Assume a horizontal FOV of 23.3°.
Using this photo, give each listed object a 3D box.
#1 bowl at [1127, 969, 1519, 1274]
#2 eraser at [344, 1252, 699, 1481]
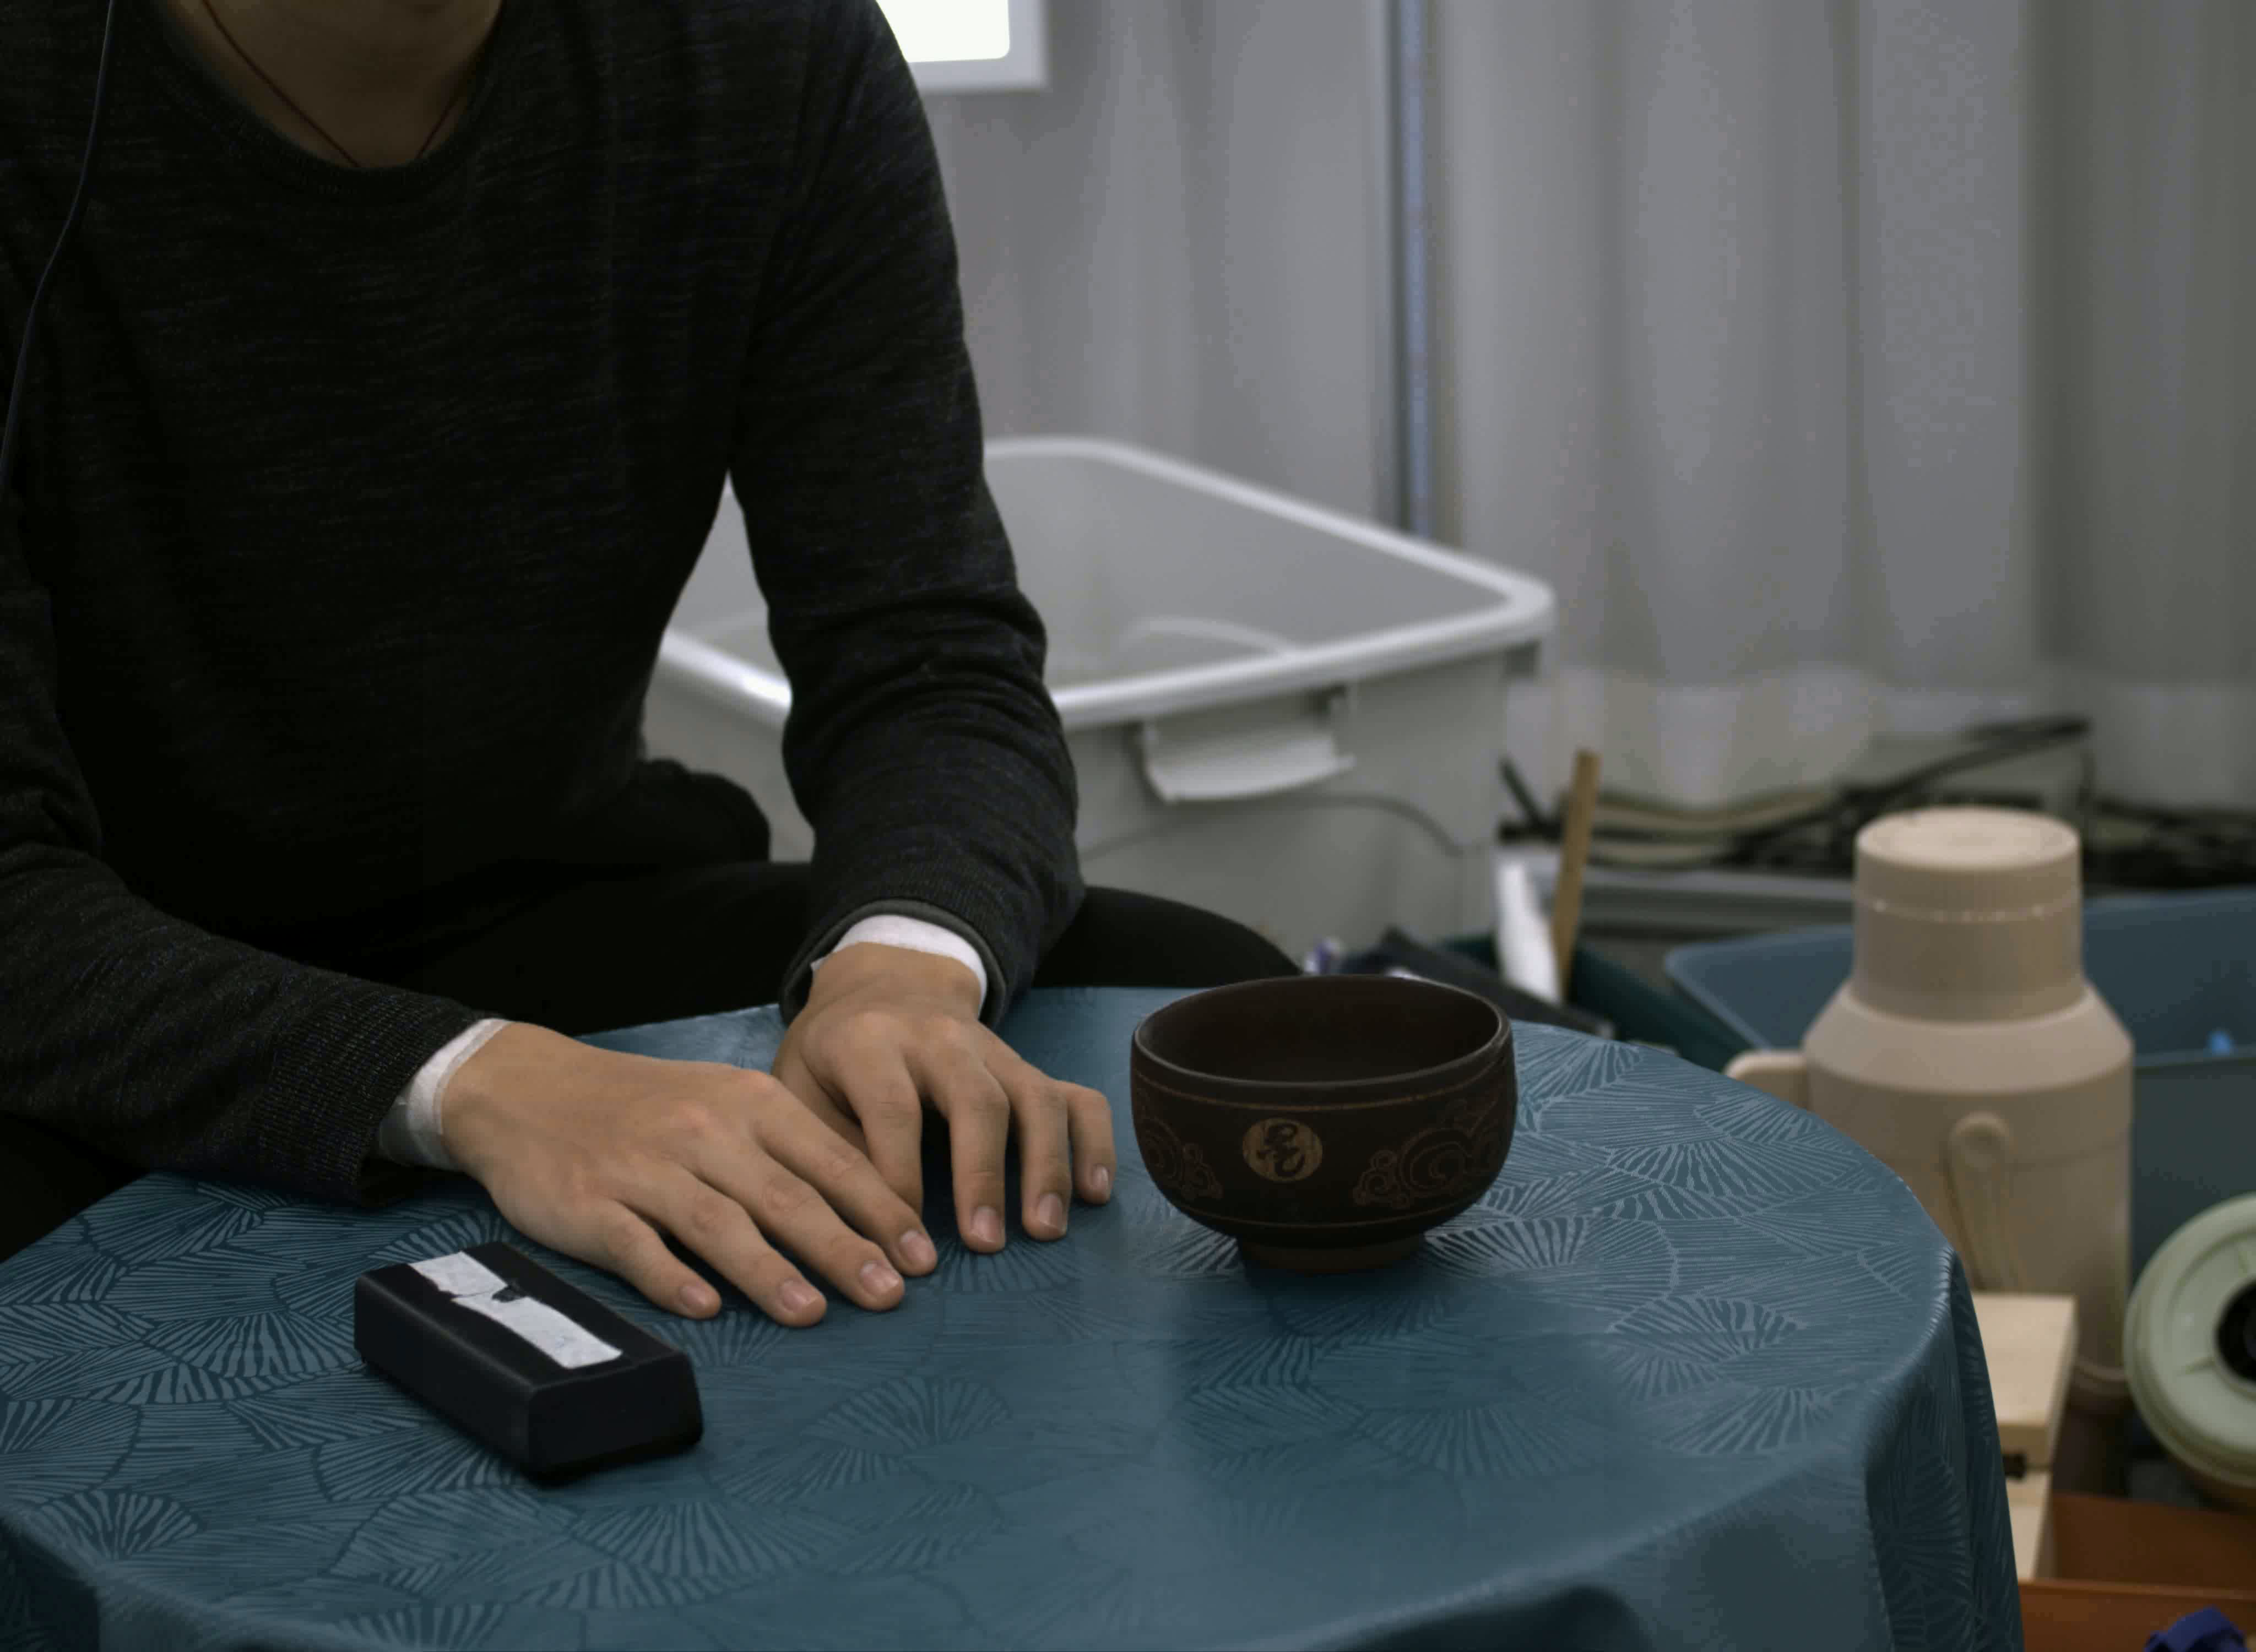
[{"bbox_3d":[0.060,0.093,1.648,0.117,0.069,0.119,-4,16,1],"label":"bowl"},{"bbox_3d":[-0.172,0.152,1.551,0.053,0.030,0.126,-9,15,-31],"label":"eraser"}]
